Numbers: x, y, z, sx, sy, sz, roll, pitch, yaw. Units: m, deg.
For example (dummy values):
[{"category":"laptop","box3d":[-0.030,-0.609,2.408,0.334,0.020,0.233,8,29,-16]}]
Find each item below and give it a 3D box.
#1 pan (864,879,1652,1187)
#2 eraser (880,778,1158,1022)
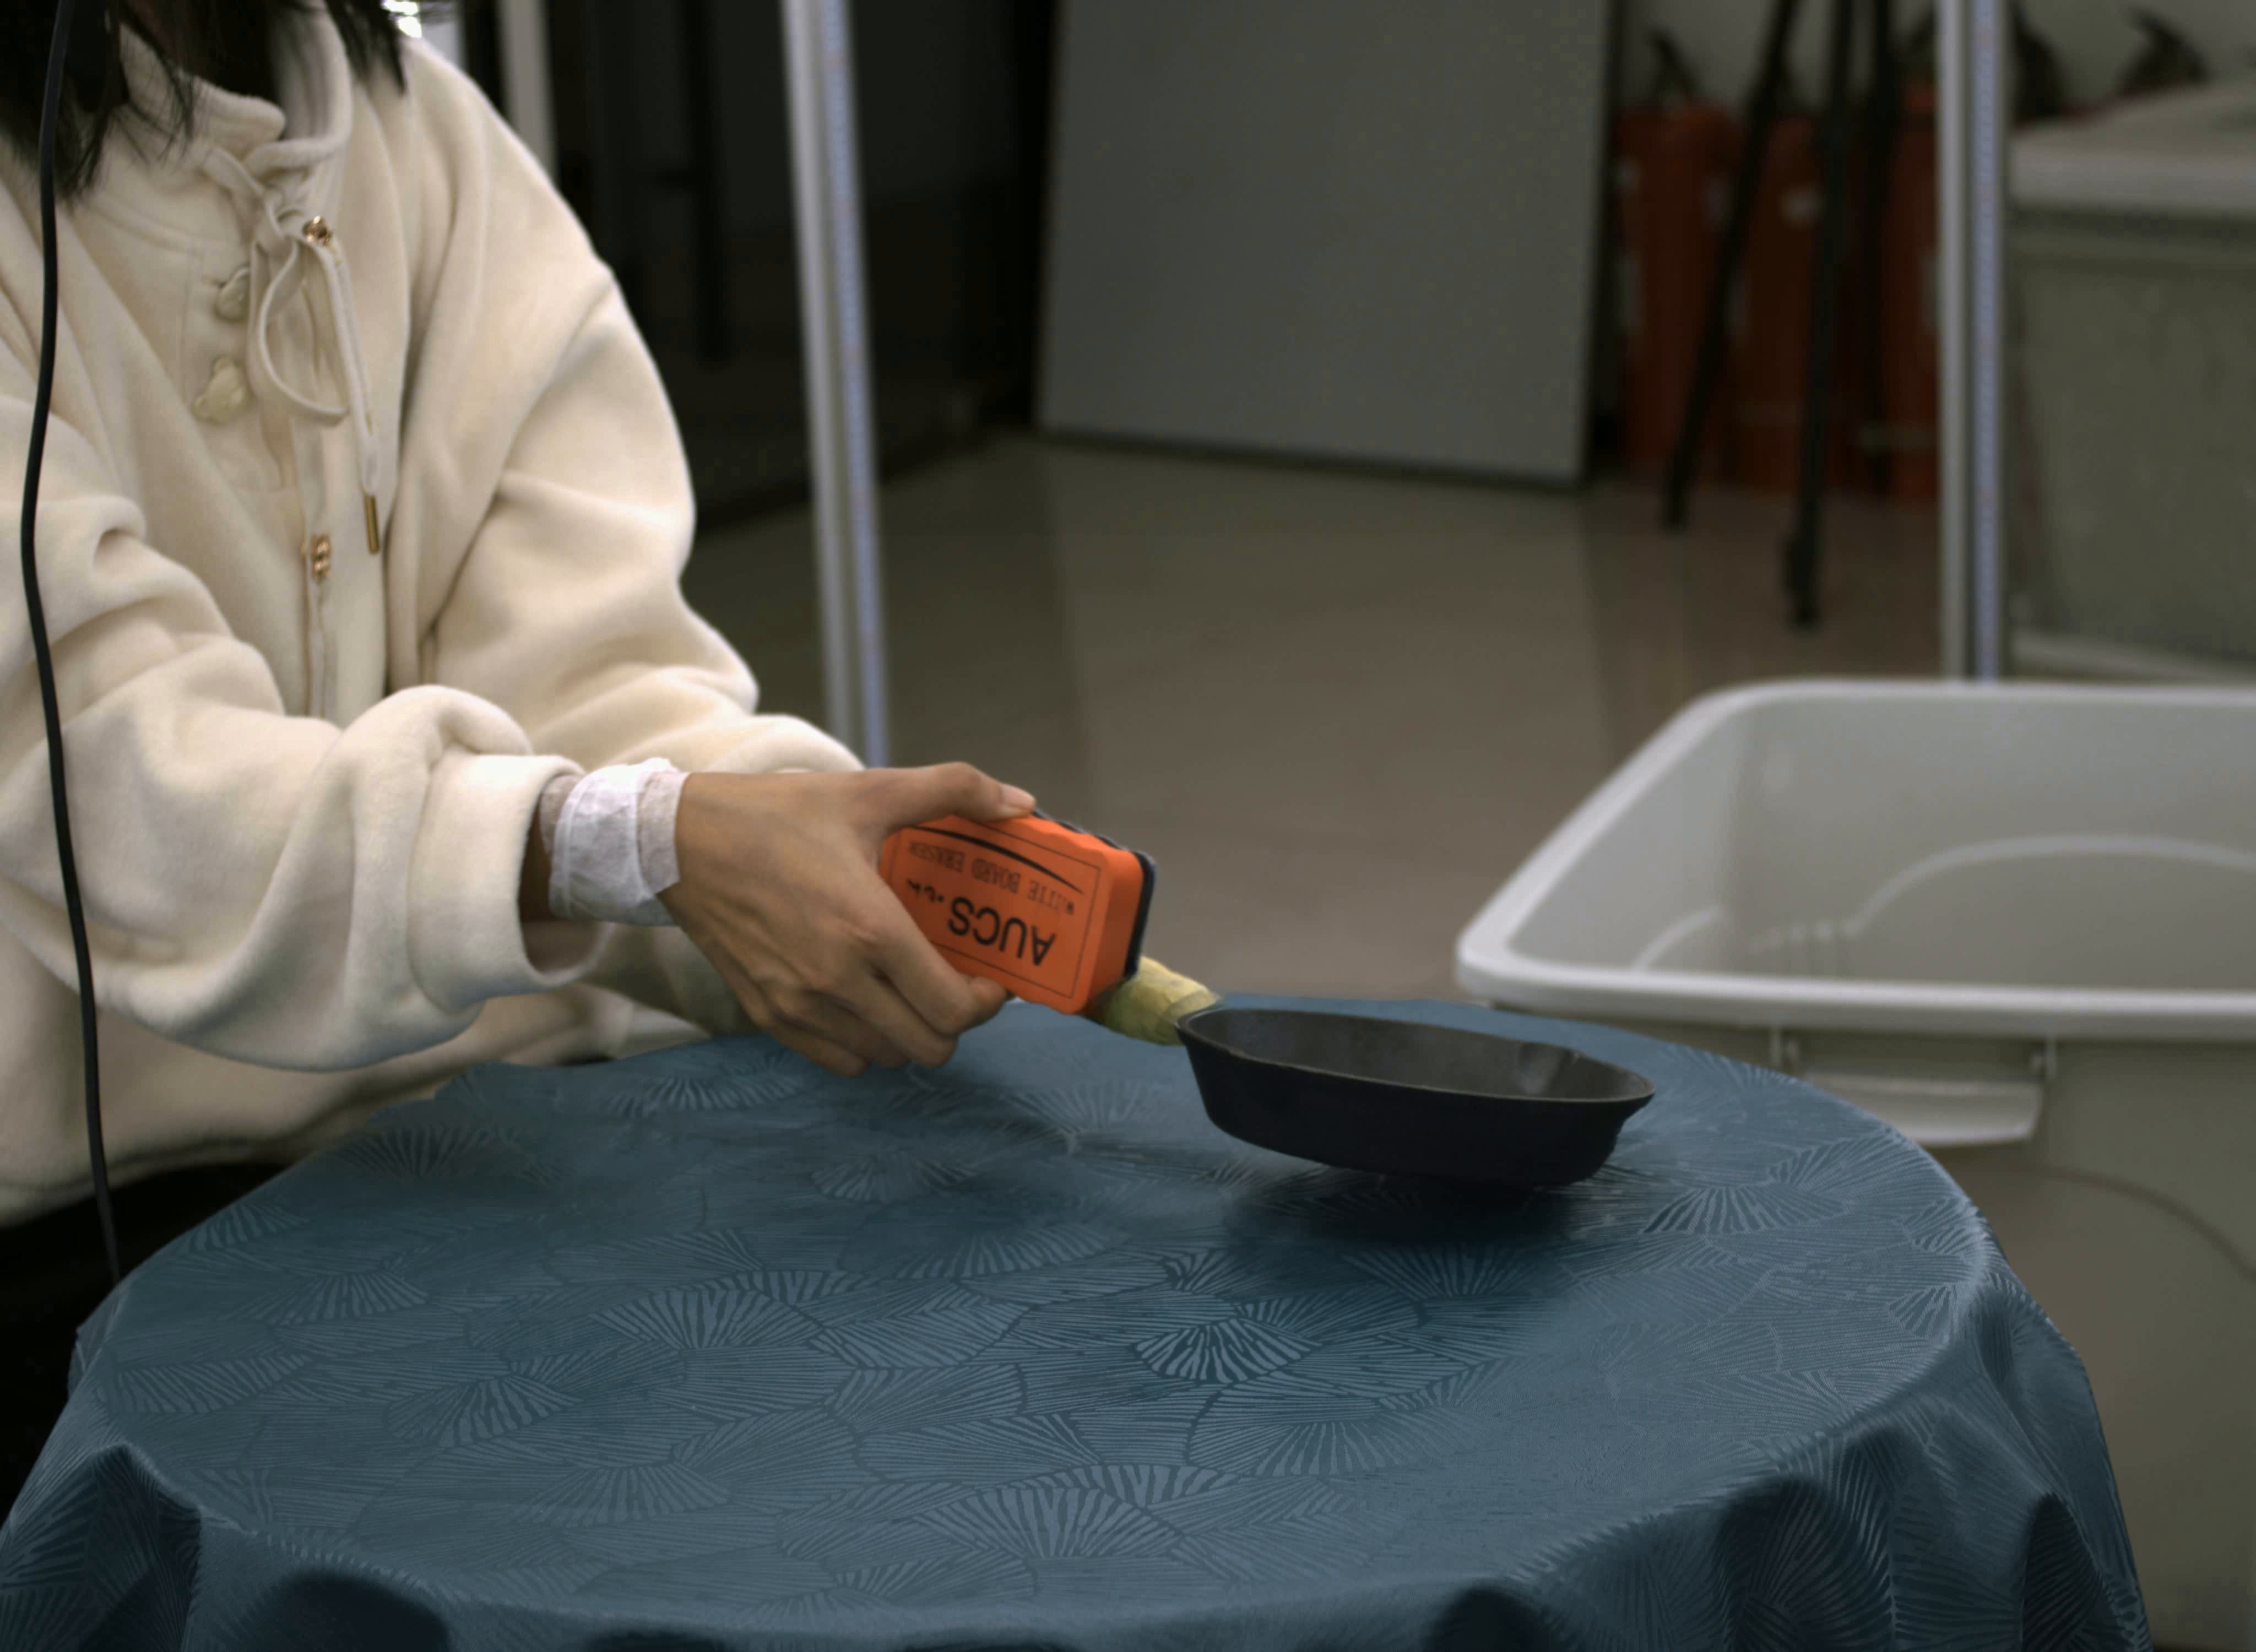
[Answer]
[{"category":"pan","box3d":[0.029,0.066,1.789,0.327,0.050,0.165,13,8,43]},{"category":"eraser","box3d":[-0.037,0.024,1.792,0.022,0.060,0.109,4,12,-44]}]
